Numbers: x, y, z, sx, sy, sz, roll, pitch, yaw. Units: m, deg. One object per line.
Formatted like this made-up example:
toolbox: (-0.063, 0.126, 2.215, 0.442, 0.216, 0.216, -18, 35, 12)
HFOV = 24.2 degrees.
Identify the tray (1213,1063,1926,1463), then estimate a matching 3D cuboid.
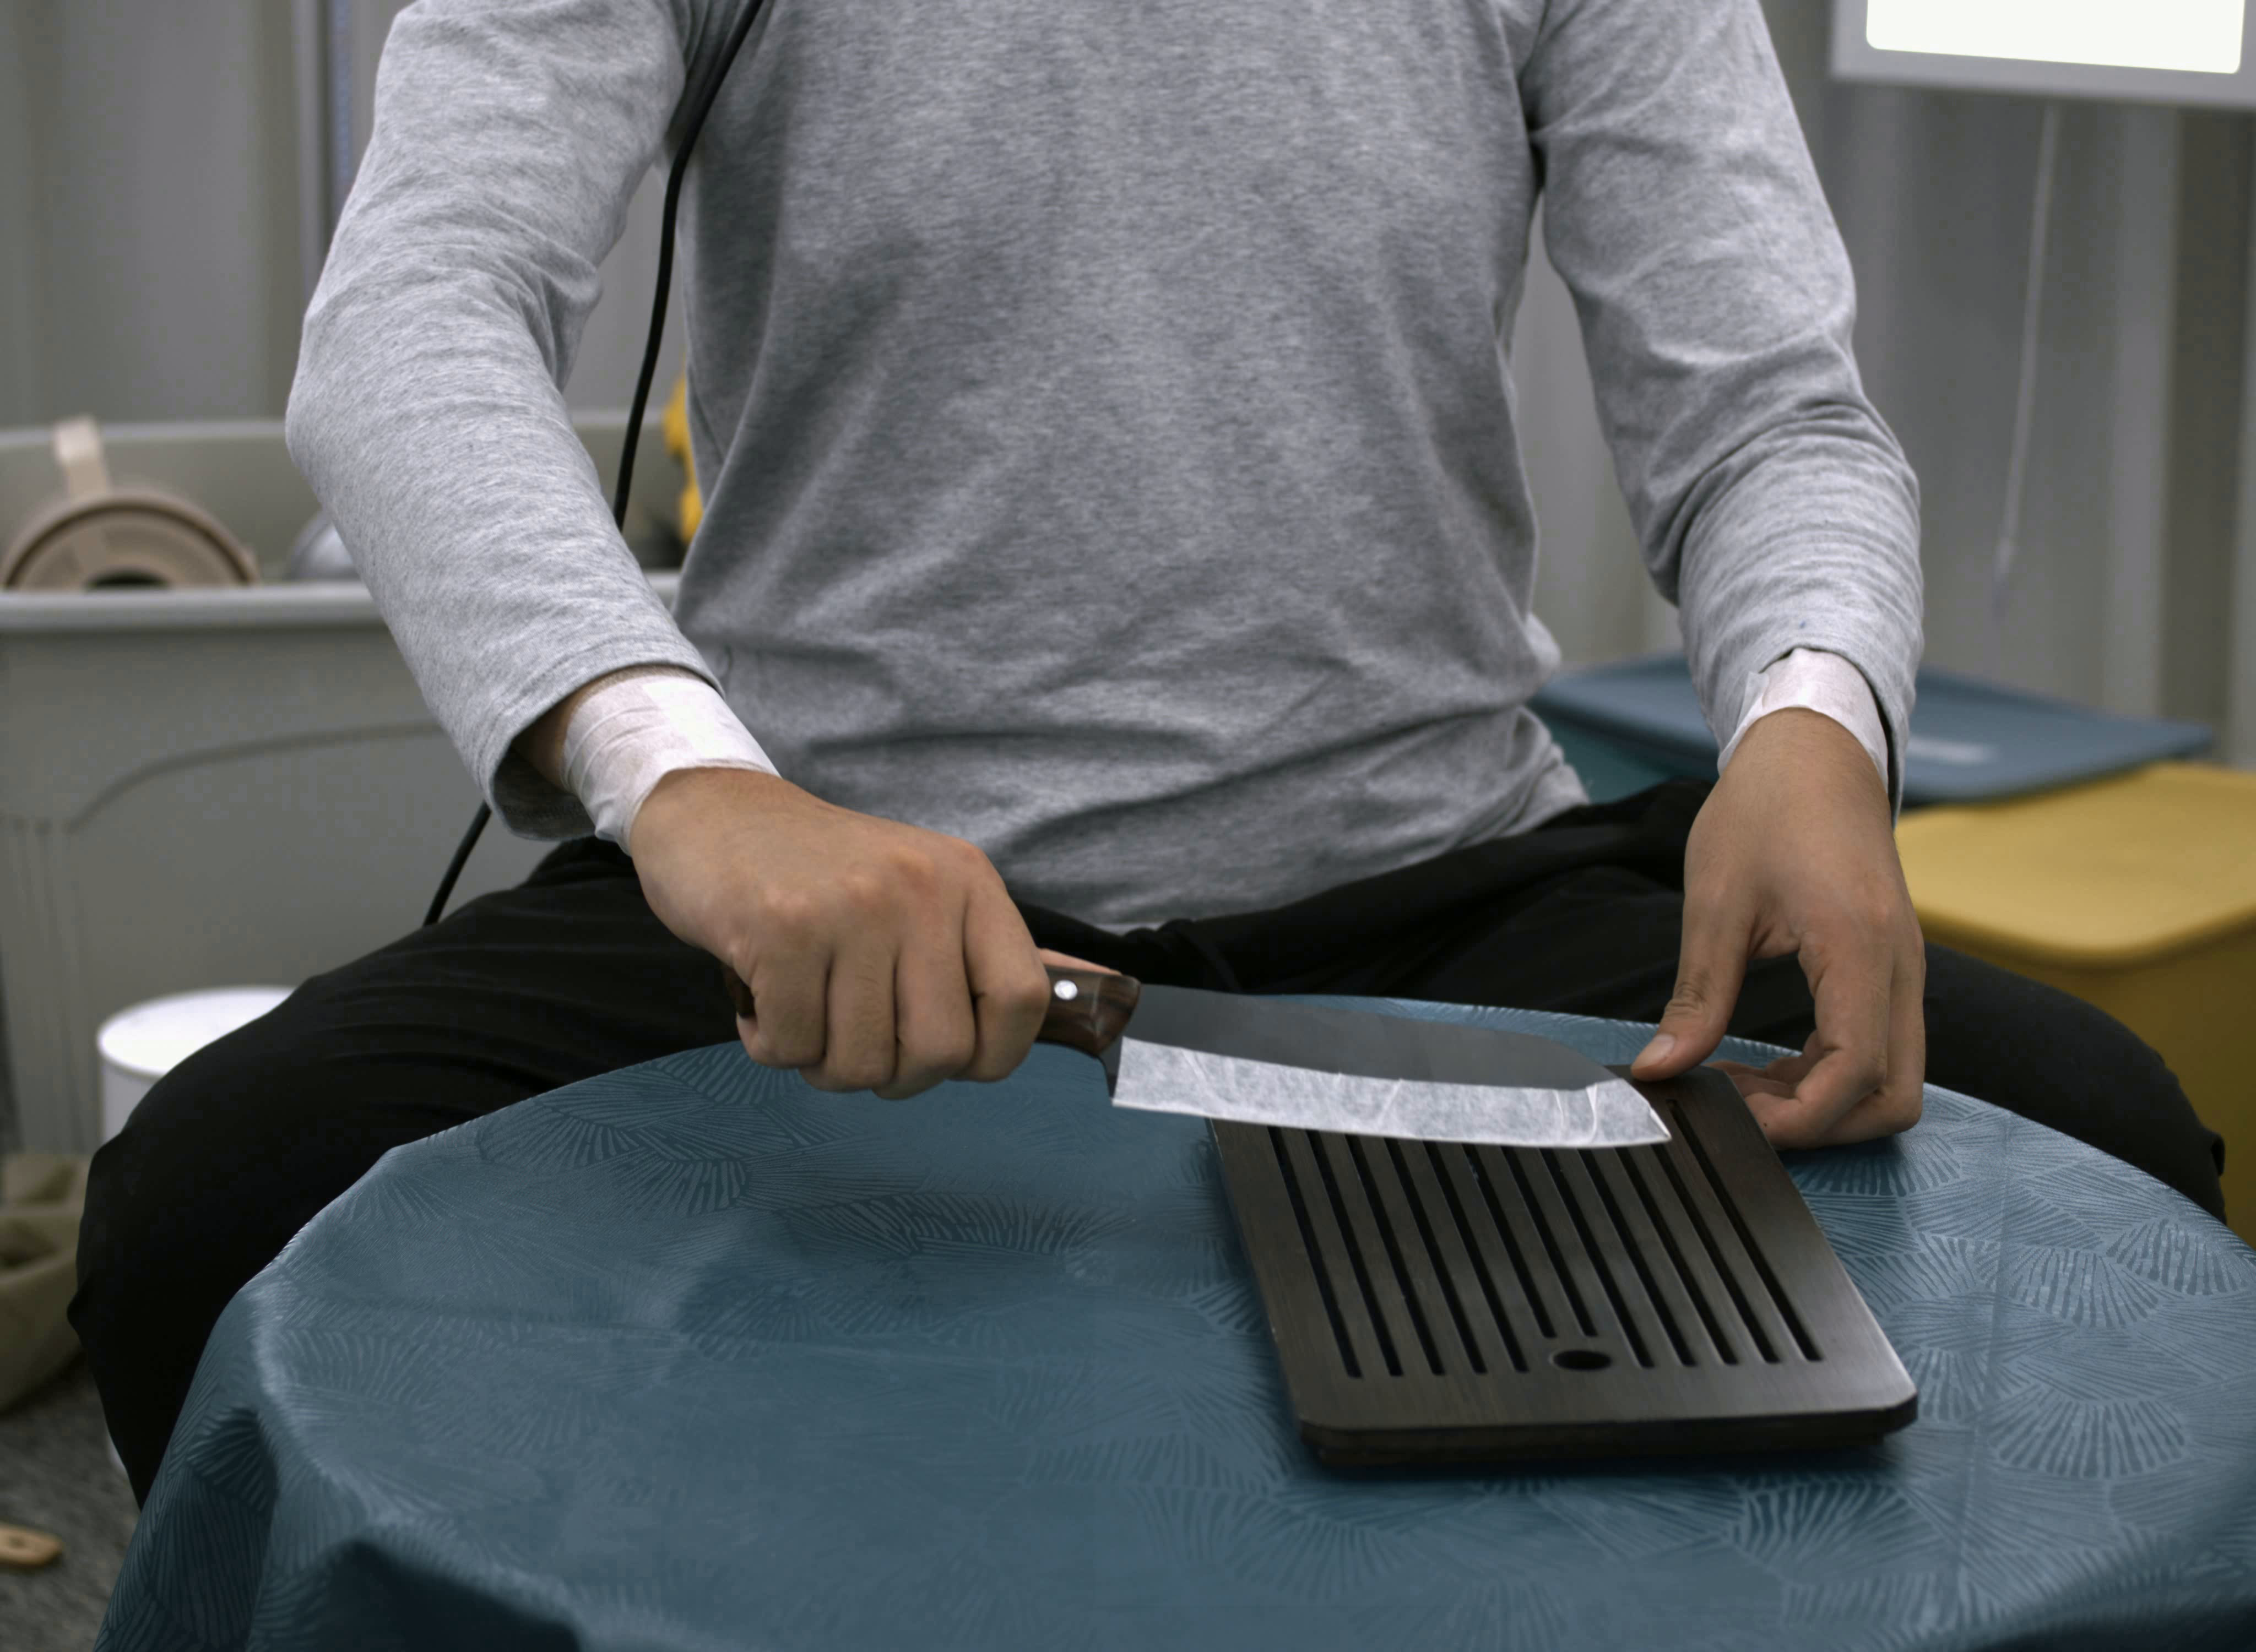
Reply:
tray: (0.121, 0.125, 1.547, 0.170, 0.019, 0.304, -2, 15, -4)

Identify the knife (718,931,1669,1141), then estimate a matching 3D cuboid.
knife: (0.019, 0.064, 1.567, 0.288, 0.020, 0.050, 9, 58, 1)
